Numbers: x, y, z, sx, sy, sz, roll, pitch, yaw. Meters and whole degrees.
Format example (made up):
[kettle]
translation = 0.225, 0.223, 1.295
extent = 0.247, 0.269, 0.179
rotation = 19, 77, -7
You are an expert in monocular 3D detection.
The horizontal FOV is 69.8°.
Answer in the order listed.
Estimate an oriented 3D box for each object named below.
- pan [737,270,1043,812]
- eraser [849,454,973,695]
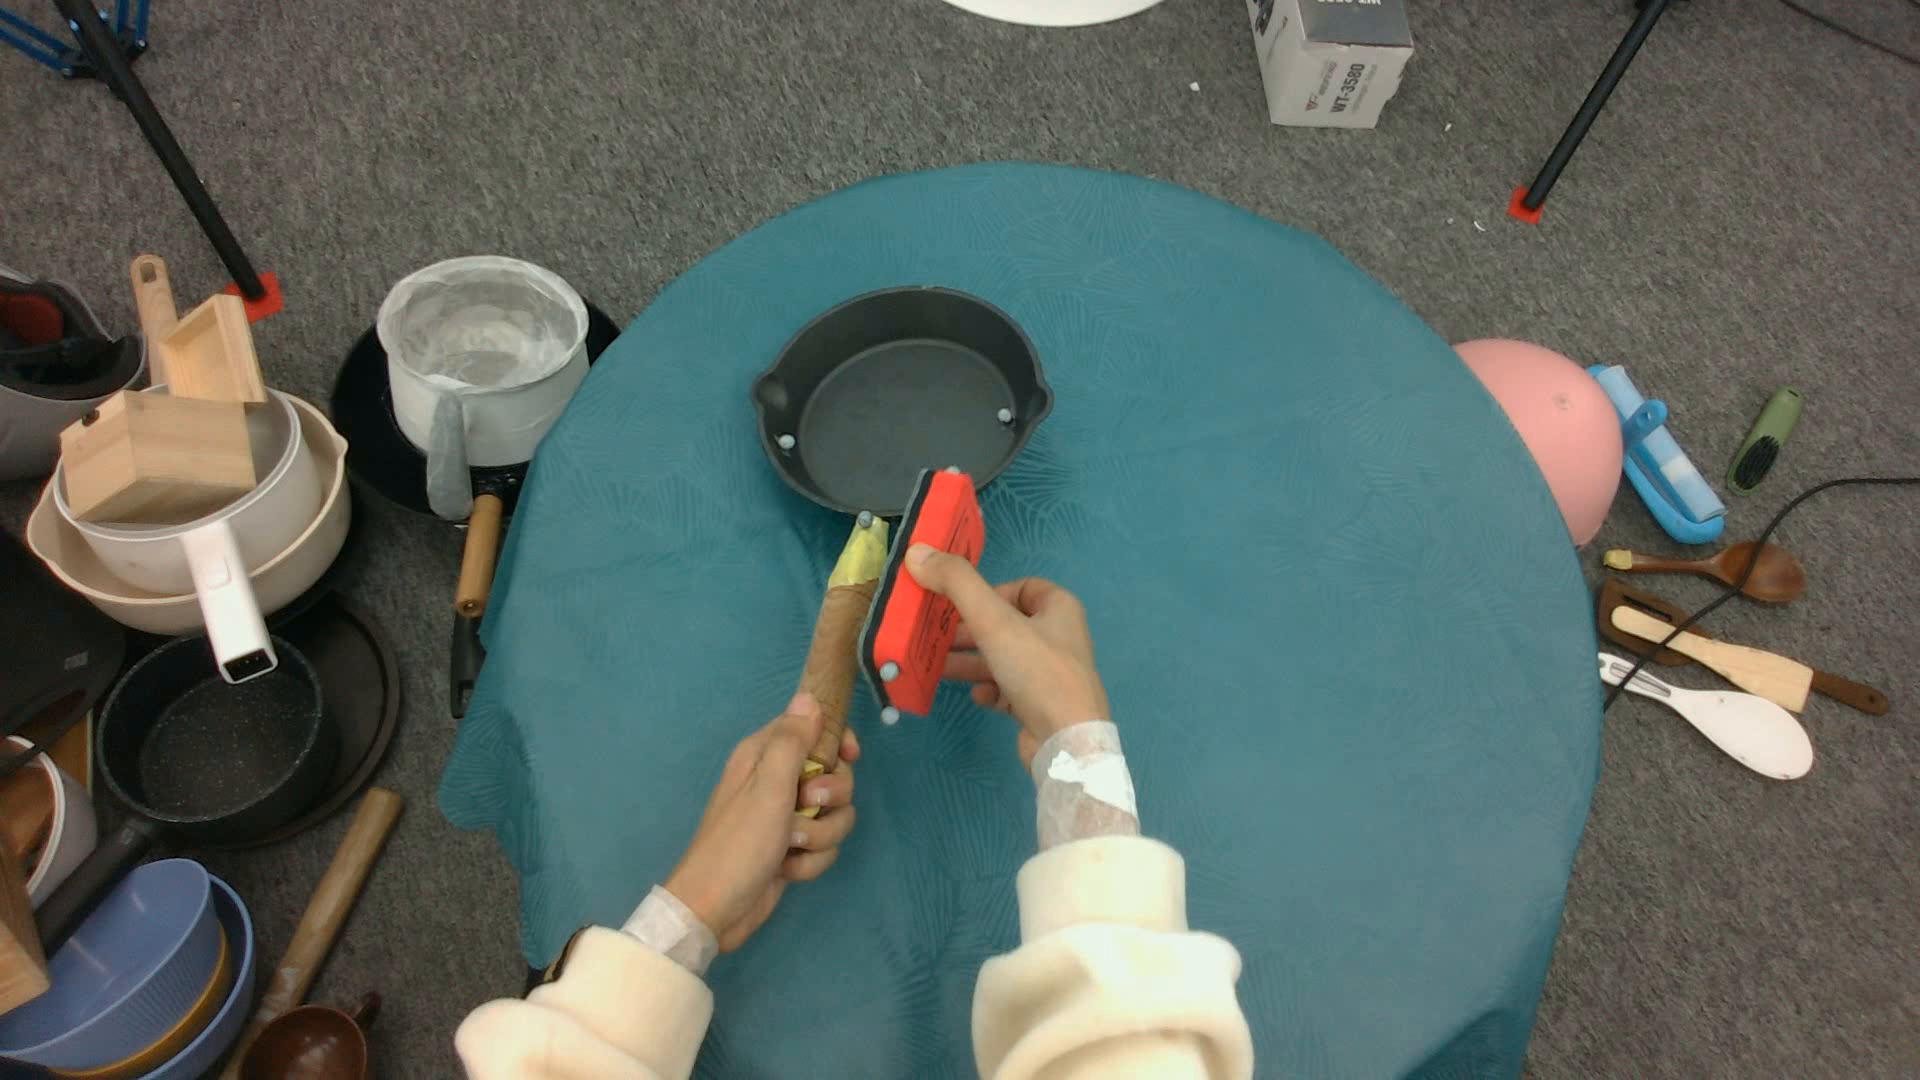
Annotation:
[pan]
translation = -0.053, -0.011, 0.705
extent = 0.169, 0.049, 0.325
rotation = 6, 58, 10
[eraser]
translation = -0.021, 0.015, 0.647
extent = 0.023, 0.059, 0.108
rotation = 7, 55, 17
